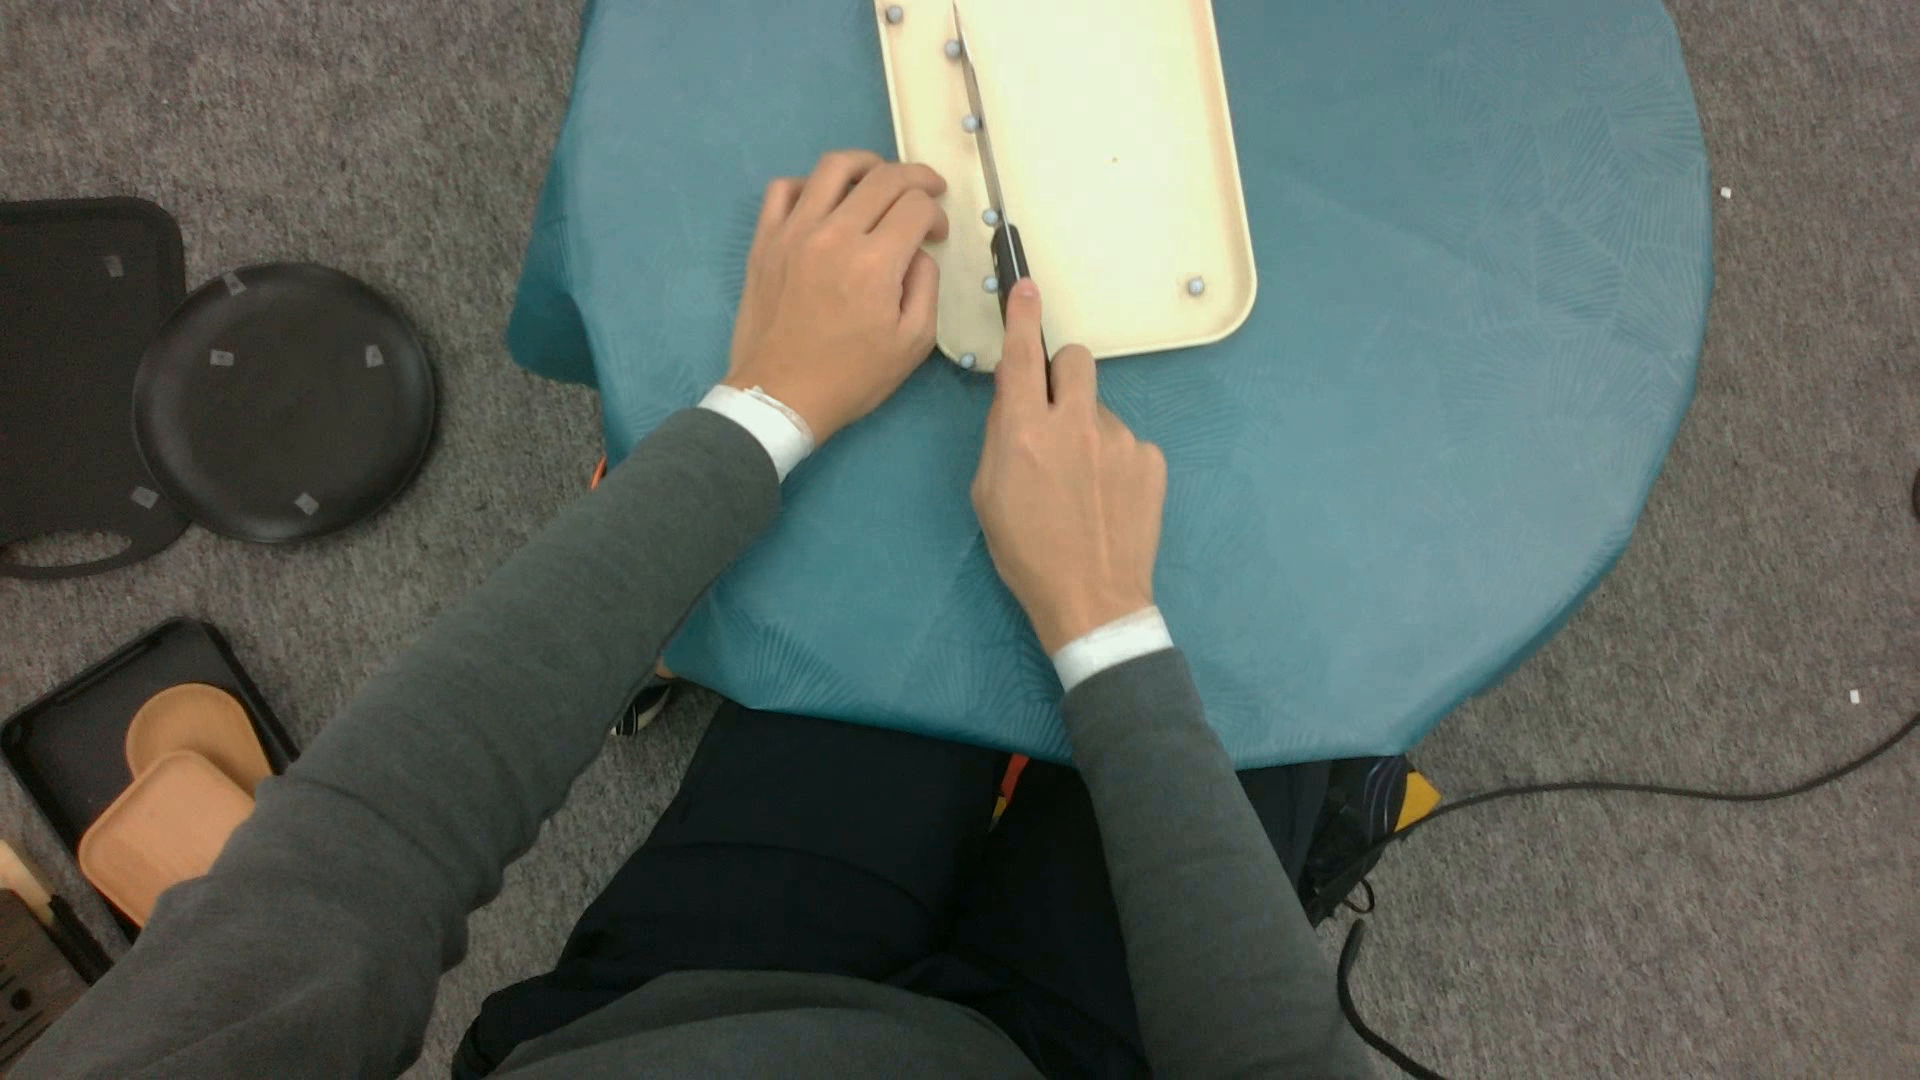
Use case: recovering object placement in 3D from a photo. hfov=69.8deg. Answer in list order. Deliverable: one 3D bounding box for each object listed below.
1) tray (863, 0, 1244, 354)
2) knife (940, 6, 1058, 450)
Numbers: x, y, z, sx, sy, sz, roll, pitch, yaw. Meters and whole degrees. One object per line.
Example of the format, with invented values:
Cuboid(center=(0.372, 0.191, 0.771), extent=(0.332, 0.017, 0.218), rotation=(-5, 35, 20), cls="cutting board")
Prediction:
Cuboid(center=(0.045, -0.216, 0.692), extent=(0.171, 0.017, 0.240), rotation=(-8, 86, -8), cls="tray")
Cuboid(center=(0.015, -0.157, 0.667), extent=(0.016, 0.024, 0.238), rotation=(-11, 77, -5), cls="knife")
